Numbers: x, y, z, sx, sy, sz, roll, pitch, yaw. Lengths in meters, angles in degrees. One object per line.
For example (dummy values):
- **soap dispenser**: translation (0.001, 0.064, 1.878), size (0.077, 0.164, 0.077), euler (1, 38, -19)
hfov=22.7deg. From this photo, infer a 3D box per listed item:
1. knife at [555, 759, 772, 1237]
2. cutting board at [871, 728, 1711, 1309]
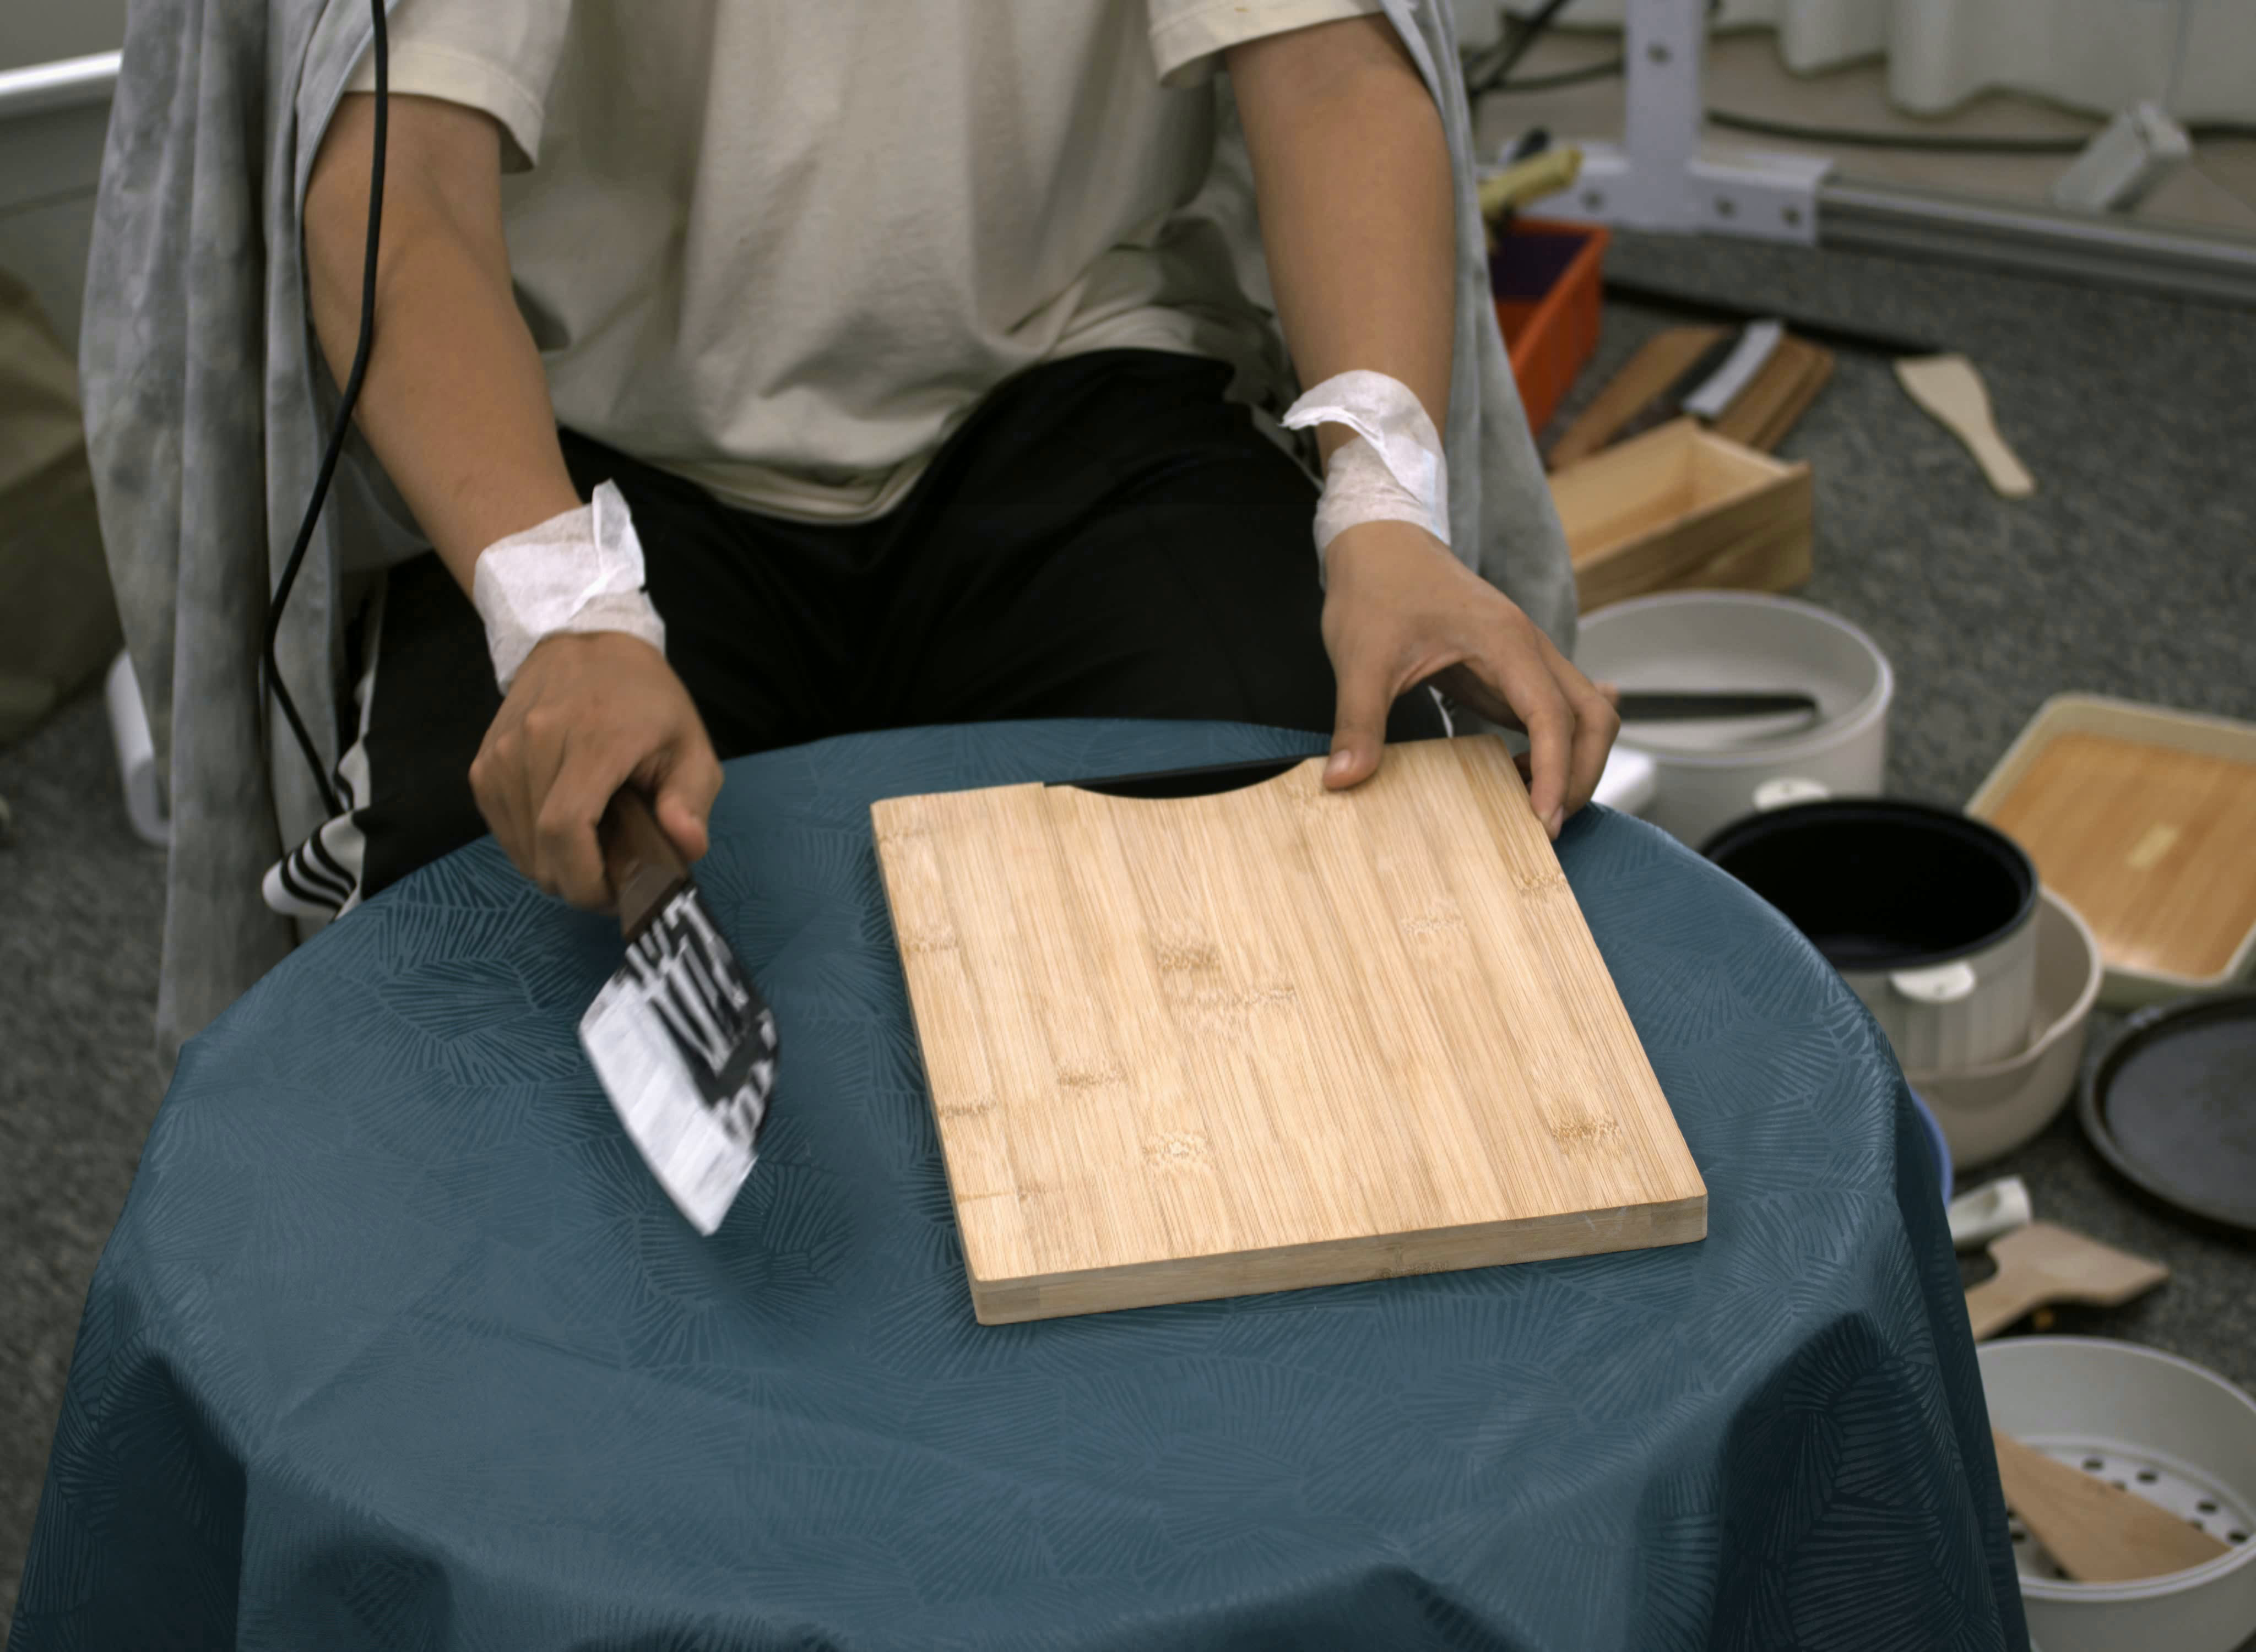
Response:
- **knife**: translation (-0.164, 0.055, 1.910), size (0.024, 0.068, 0.302), euler (35, 9, -27)
- **cutting board**: translation (0.046, 0.061, 1.956), size (0.250, 0.023, 0.353), euler (-6, 27, -7)
